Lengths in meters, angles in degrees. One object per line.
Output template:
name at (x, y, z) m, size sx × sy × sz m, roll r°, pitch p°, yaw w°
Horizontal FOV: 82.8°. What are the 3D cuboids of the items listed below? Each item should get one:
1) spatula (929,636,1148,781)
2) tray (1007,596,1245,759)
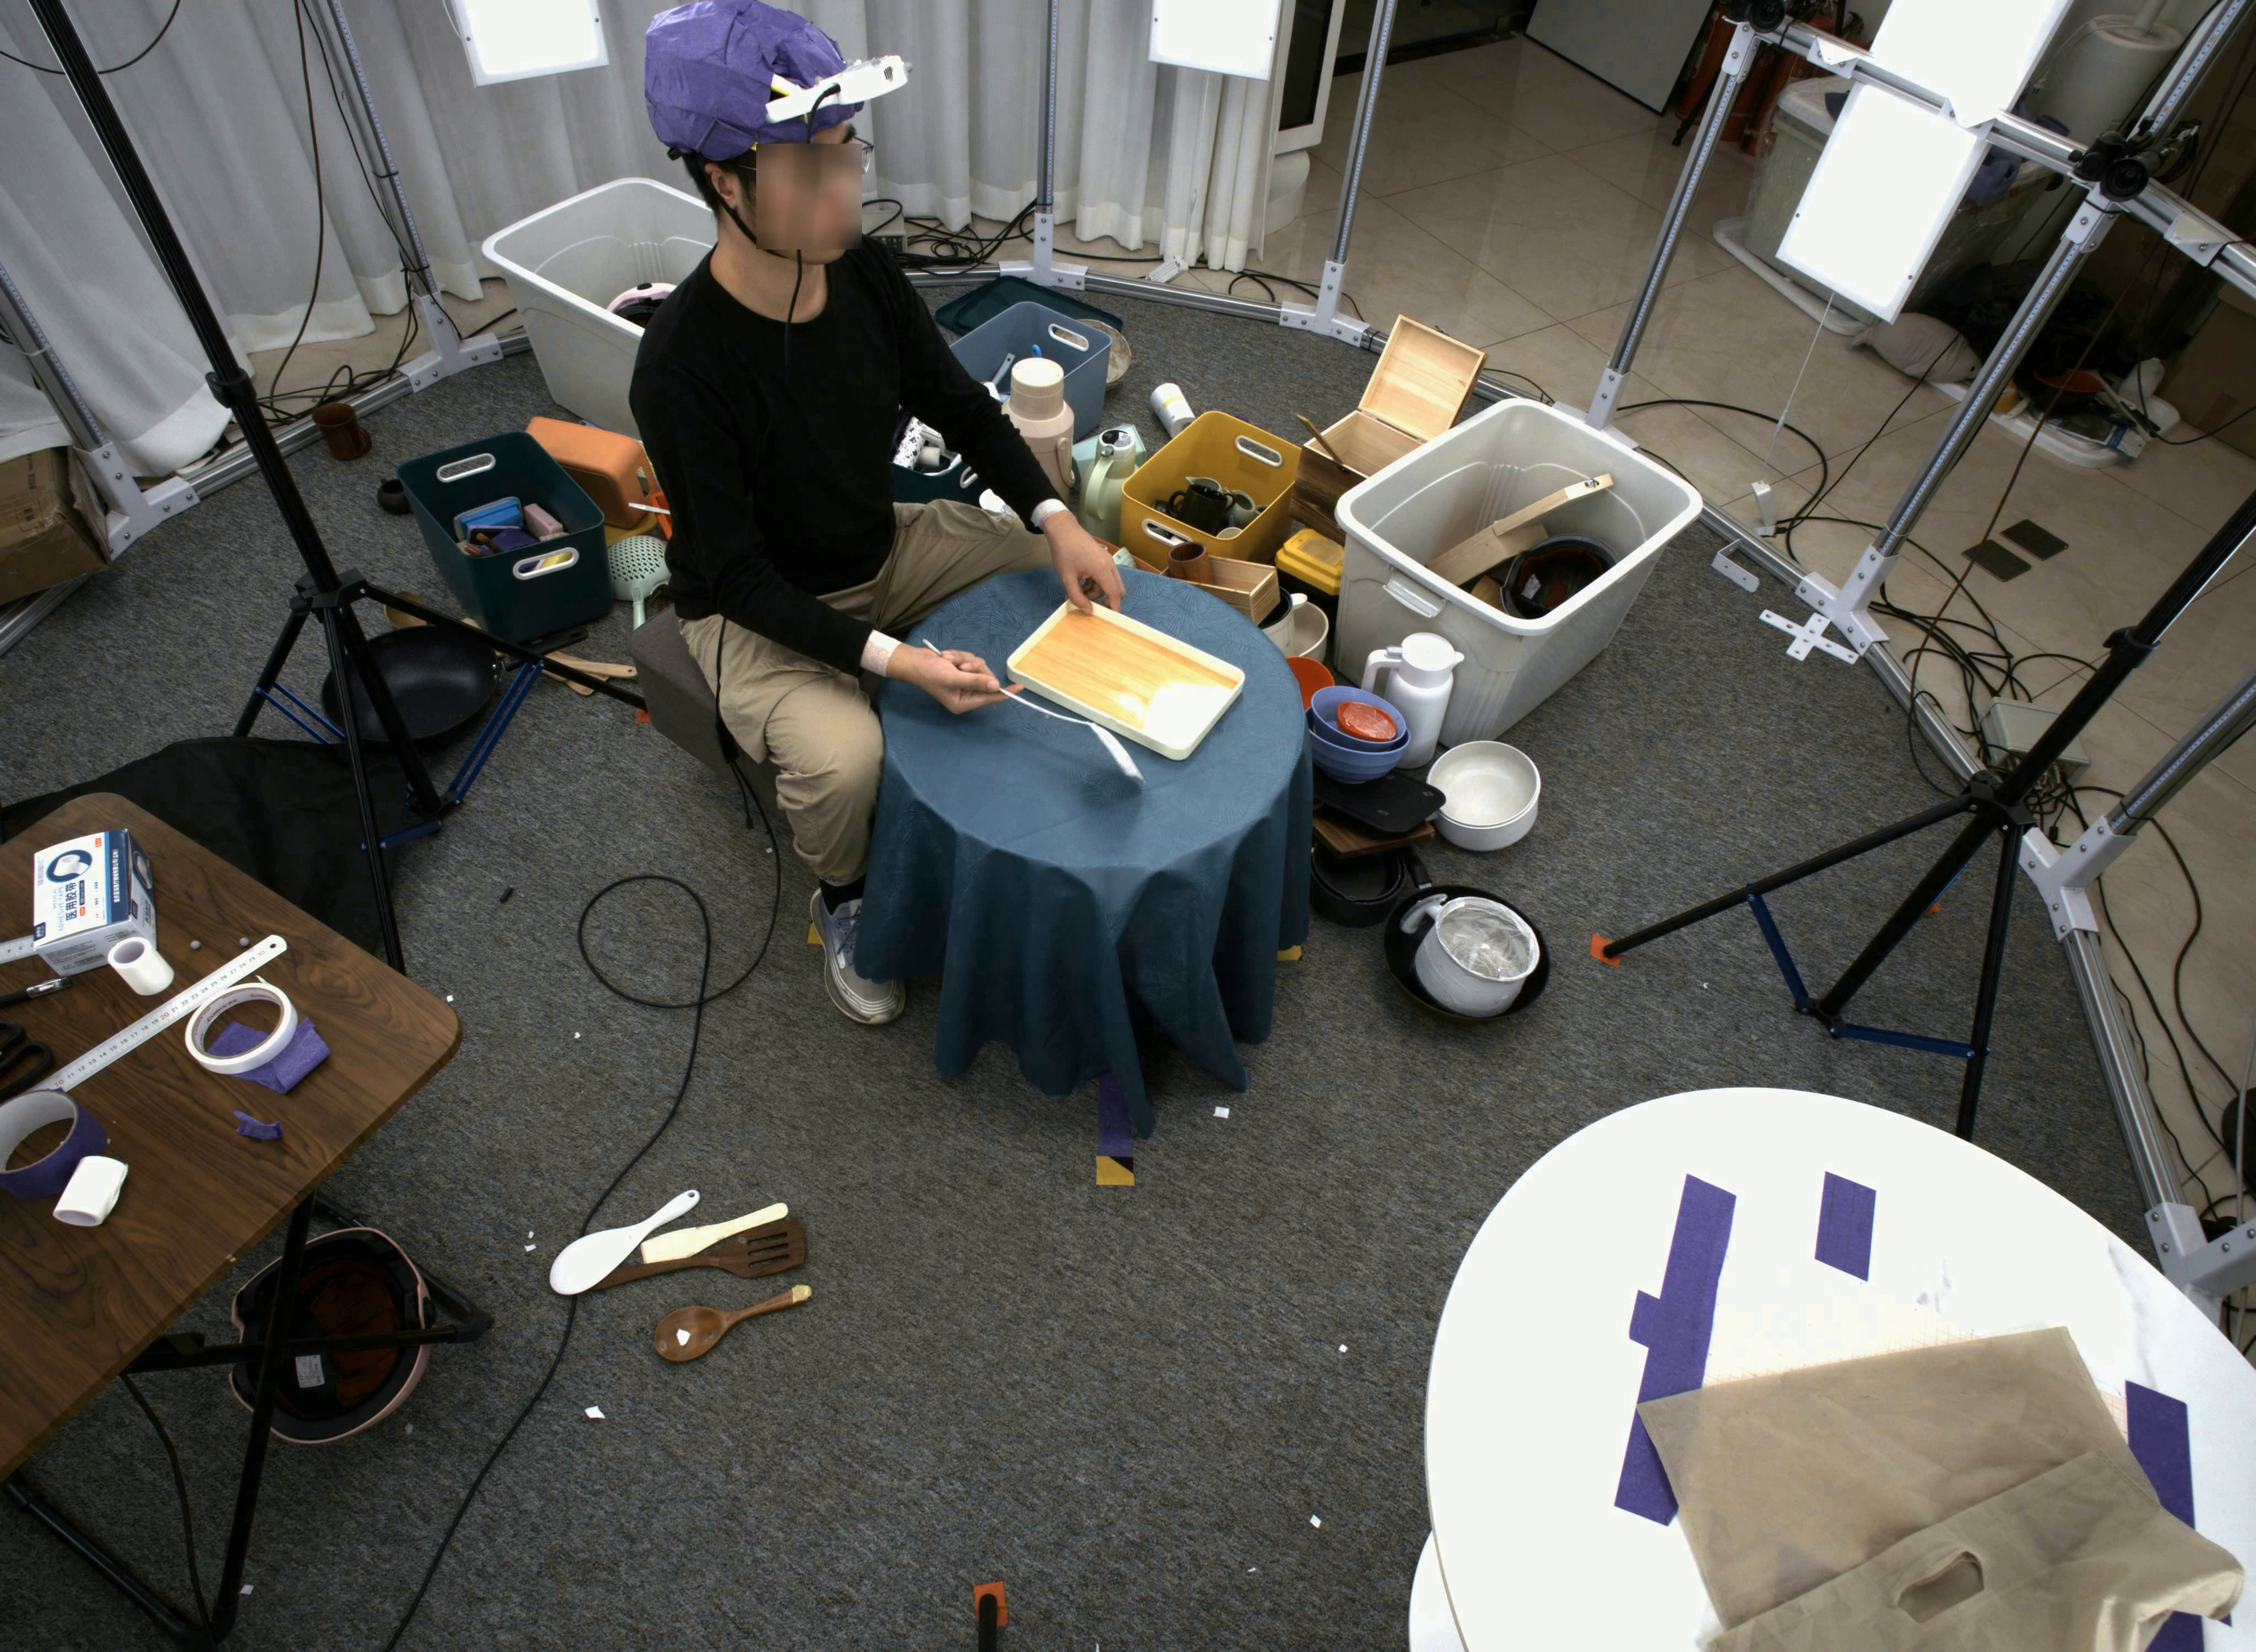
spatula at (-0.124, -0.161, 1.713) m, size 0.368 × 0.097 × 0.045 m, roll 27°, pitch 86°, yaw 18°
tray at (-0.003, -0.217, 1.841) m, size 0.303 × 0.027 × 0.194 m, roll 27°, pitch 53°, yaw 19°
